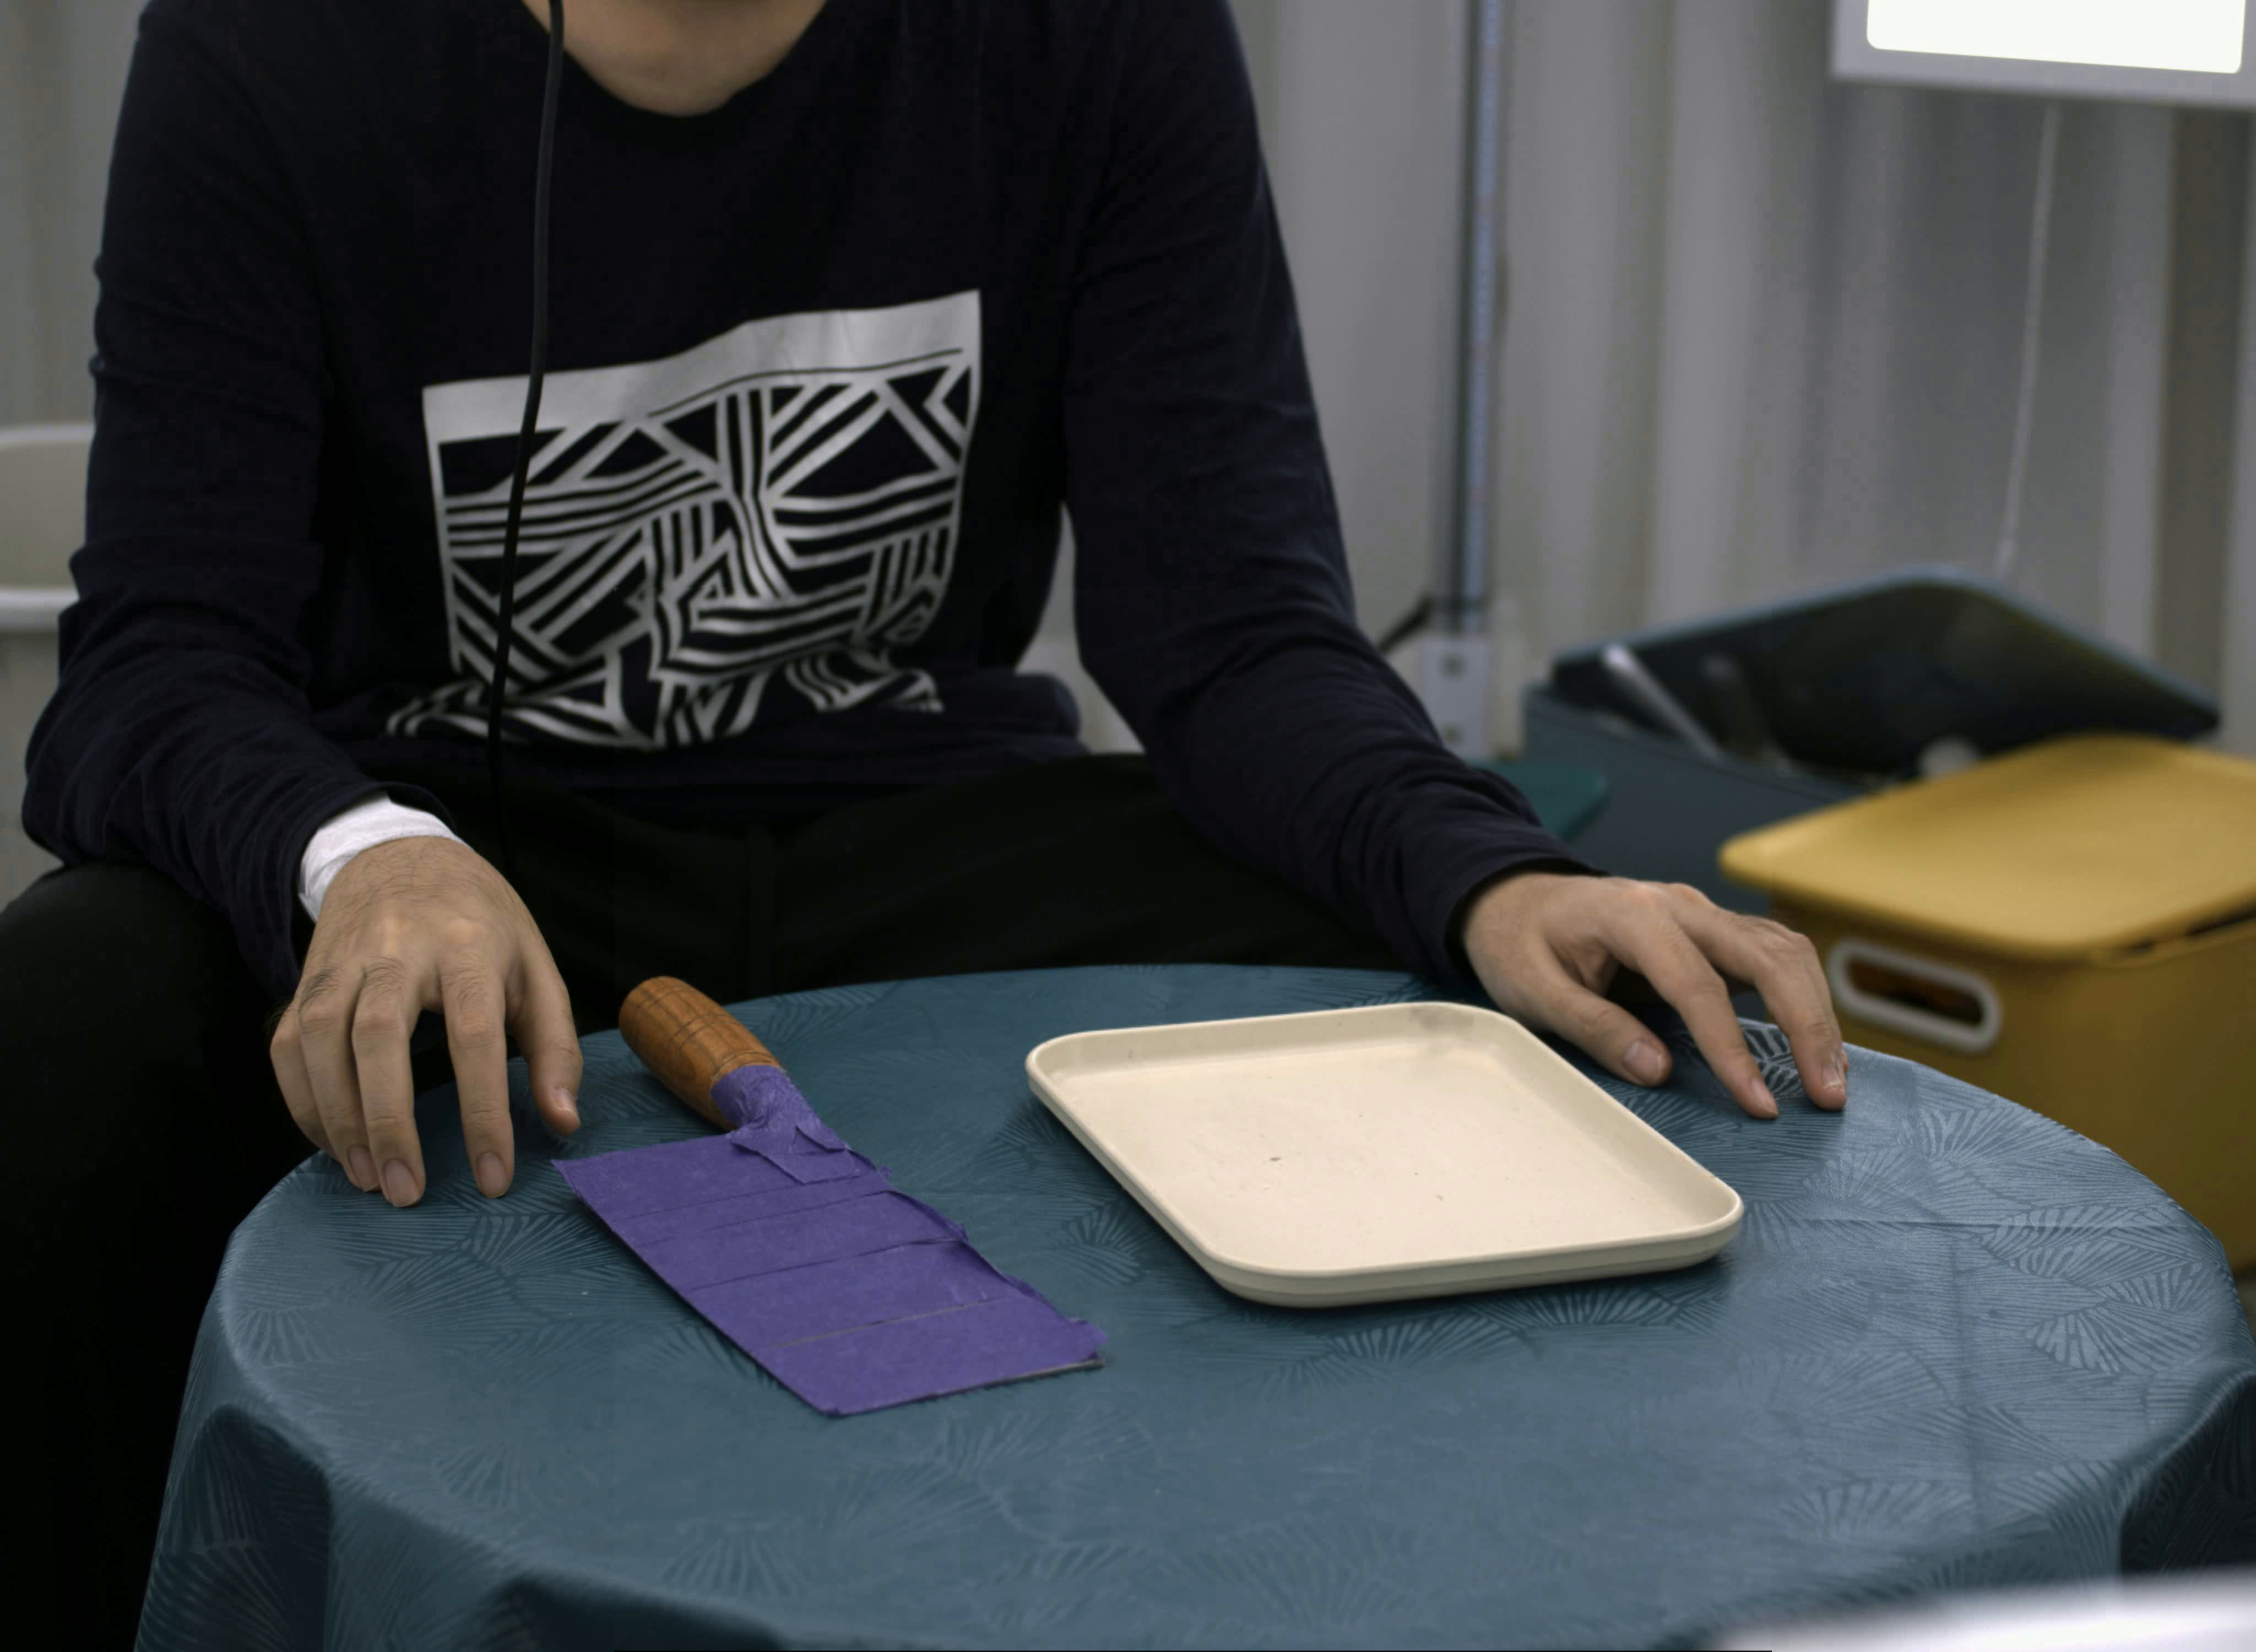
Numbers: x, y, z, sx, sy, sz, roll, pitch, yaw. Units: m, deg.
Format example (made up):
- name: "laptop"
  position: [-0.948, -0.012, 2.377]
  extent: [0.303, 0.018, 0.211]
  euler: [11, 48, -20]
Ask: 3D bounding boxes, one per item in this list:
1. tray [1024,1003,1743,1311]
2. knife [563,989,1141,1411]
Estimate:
- name: "tray"
  position: [0.075, 0.101, 1.636]
  extent: [0.171, 0.017, 0.237]
  euler: [-5, 16, -17]
- name: "knife"
  position: [-0.112, 0.108, 1.585]
  extent: [0.104, 0.032, 0.311]
  euler: [-7, 18, -27]
